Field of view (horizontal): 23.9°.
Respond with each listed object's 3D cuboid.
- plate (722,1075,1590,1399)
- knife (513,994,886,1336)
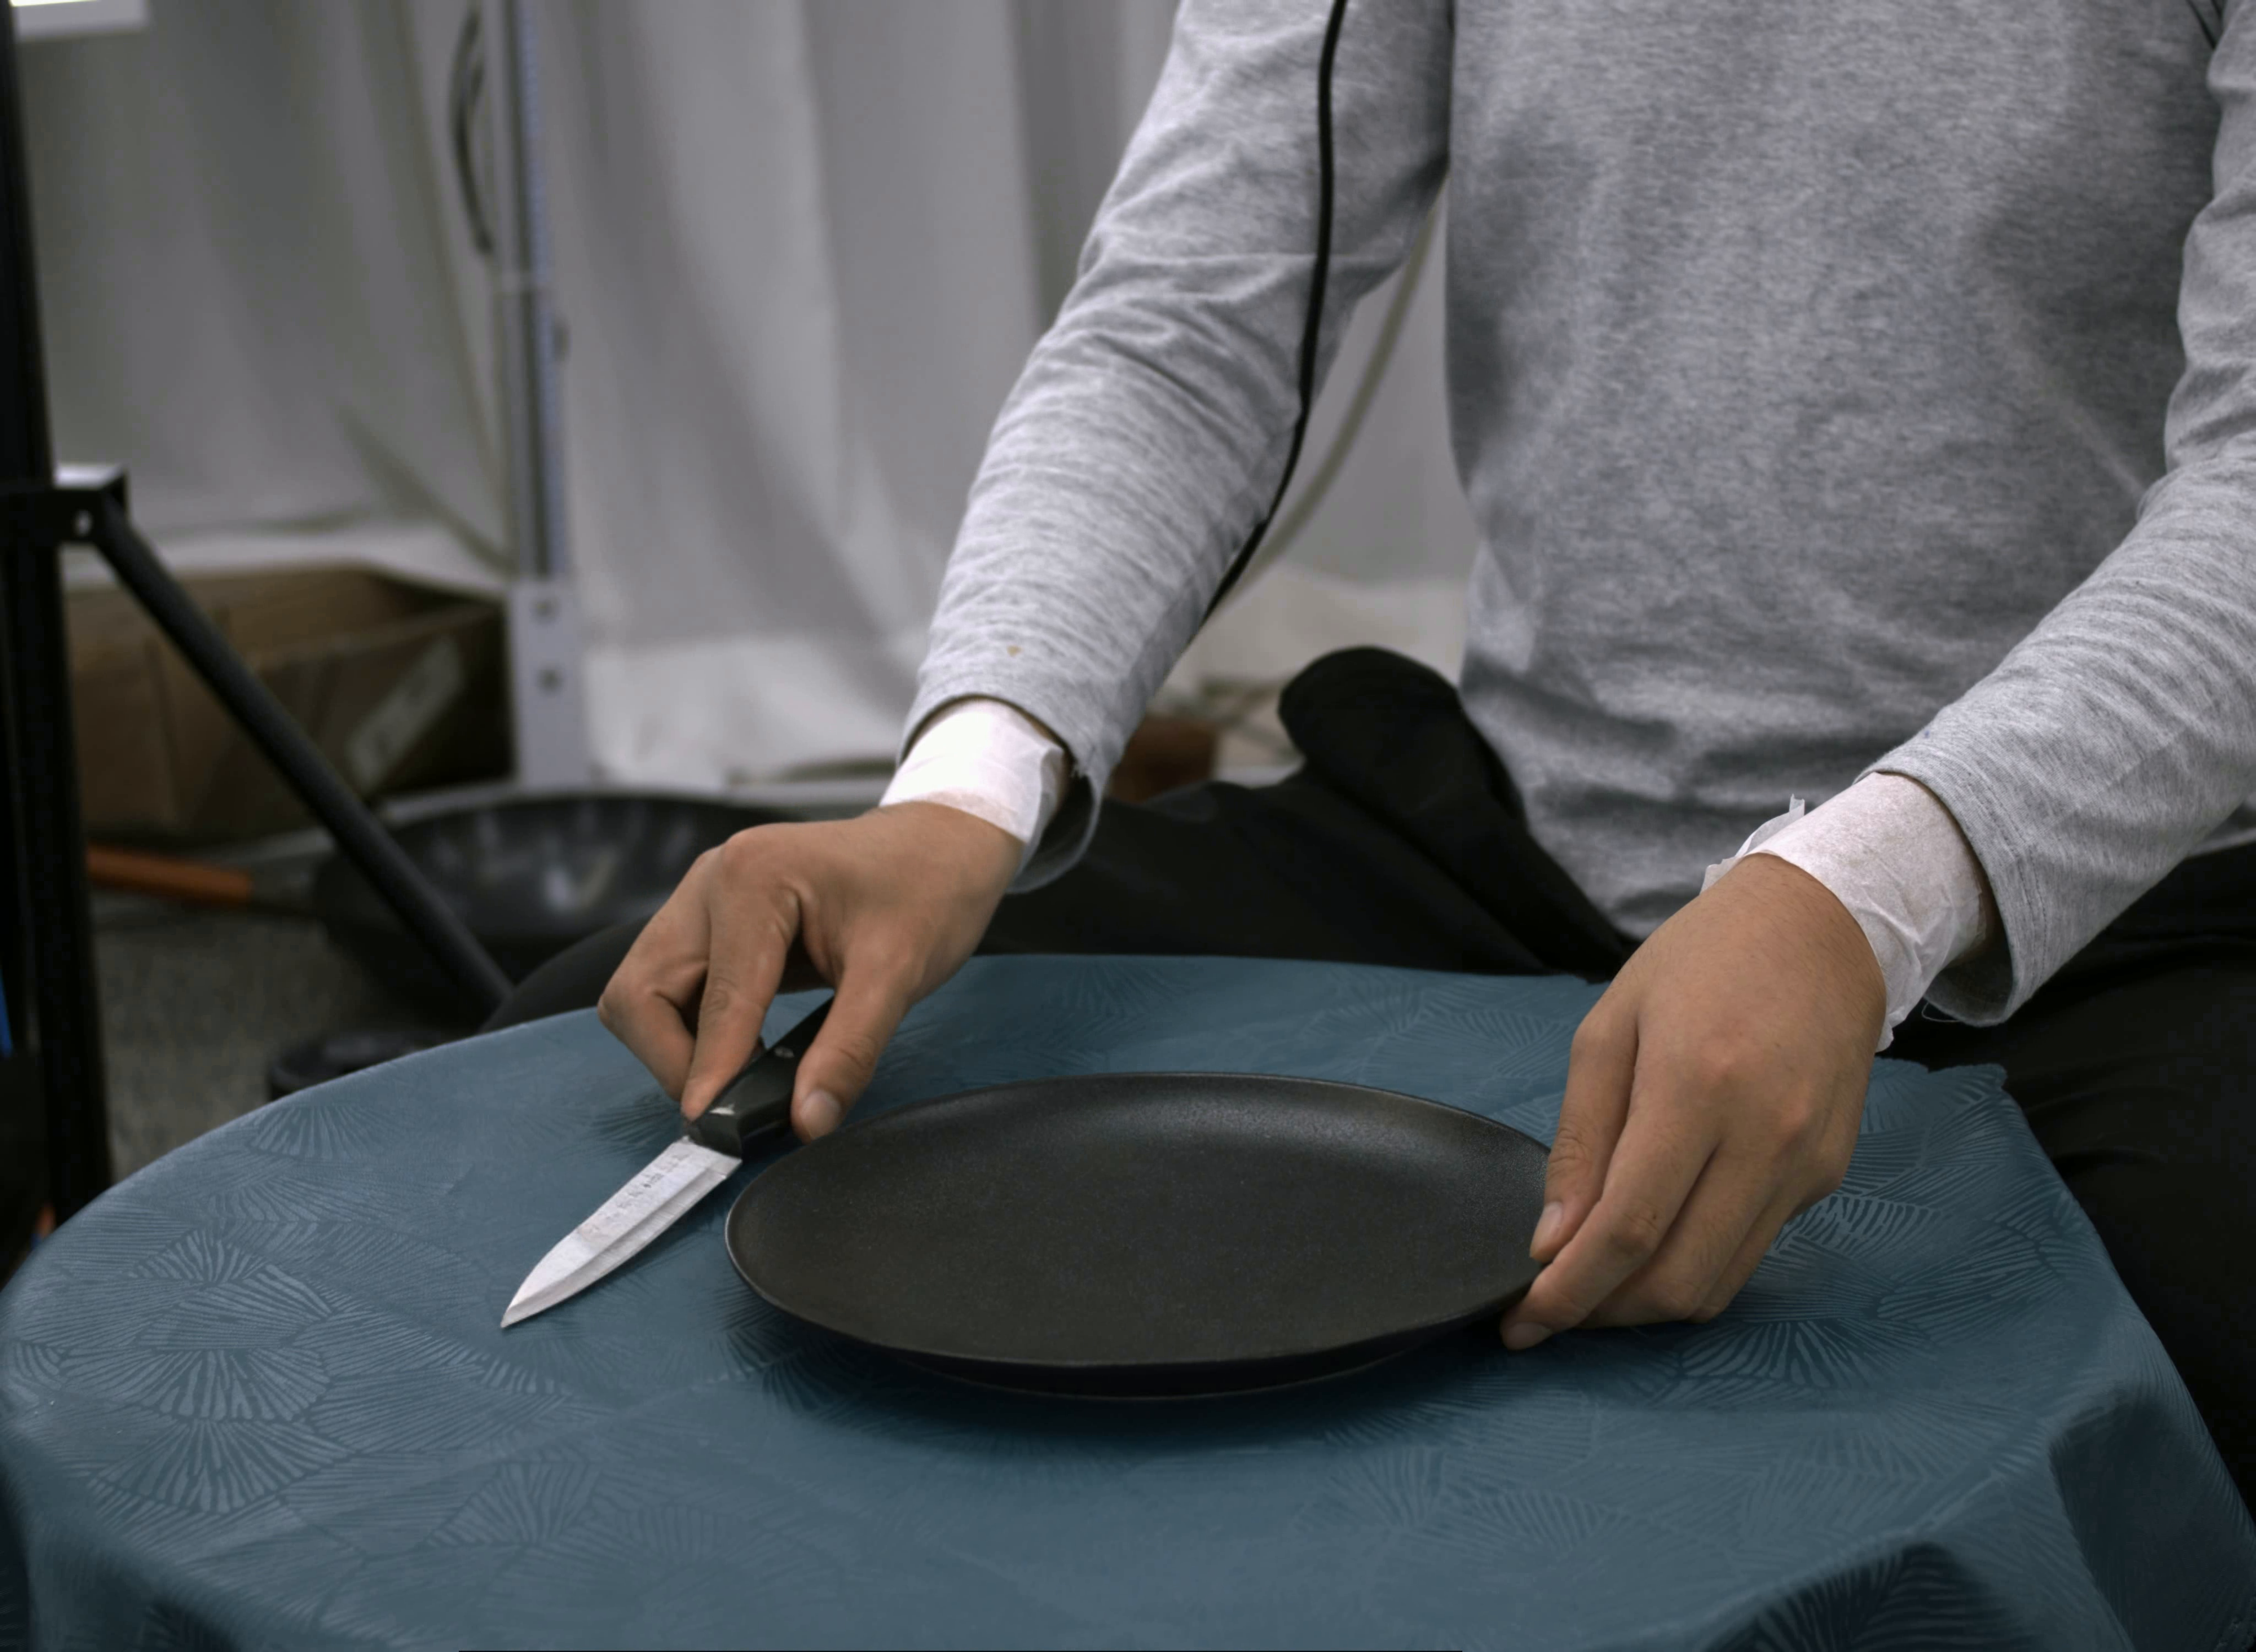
[{"bbox_3d":[0.008,0.117,1.487,0.243,0.023,0.245,-3,16,-1],"label":"plate"},{"bbox_3d":[-0.128,0.099,1.575,0.025,0.016,0.235,11,25,19],"label":"knife"}]
